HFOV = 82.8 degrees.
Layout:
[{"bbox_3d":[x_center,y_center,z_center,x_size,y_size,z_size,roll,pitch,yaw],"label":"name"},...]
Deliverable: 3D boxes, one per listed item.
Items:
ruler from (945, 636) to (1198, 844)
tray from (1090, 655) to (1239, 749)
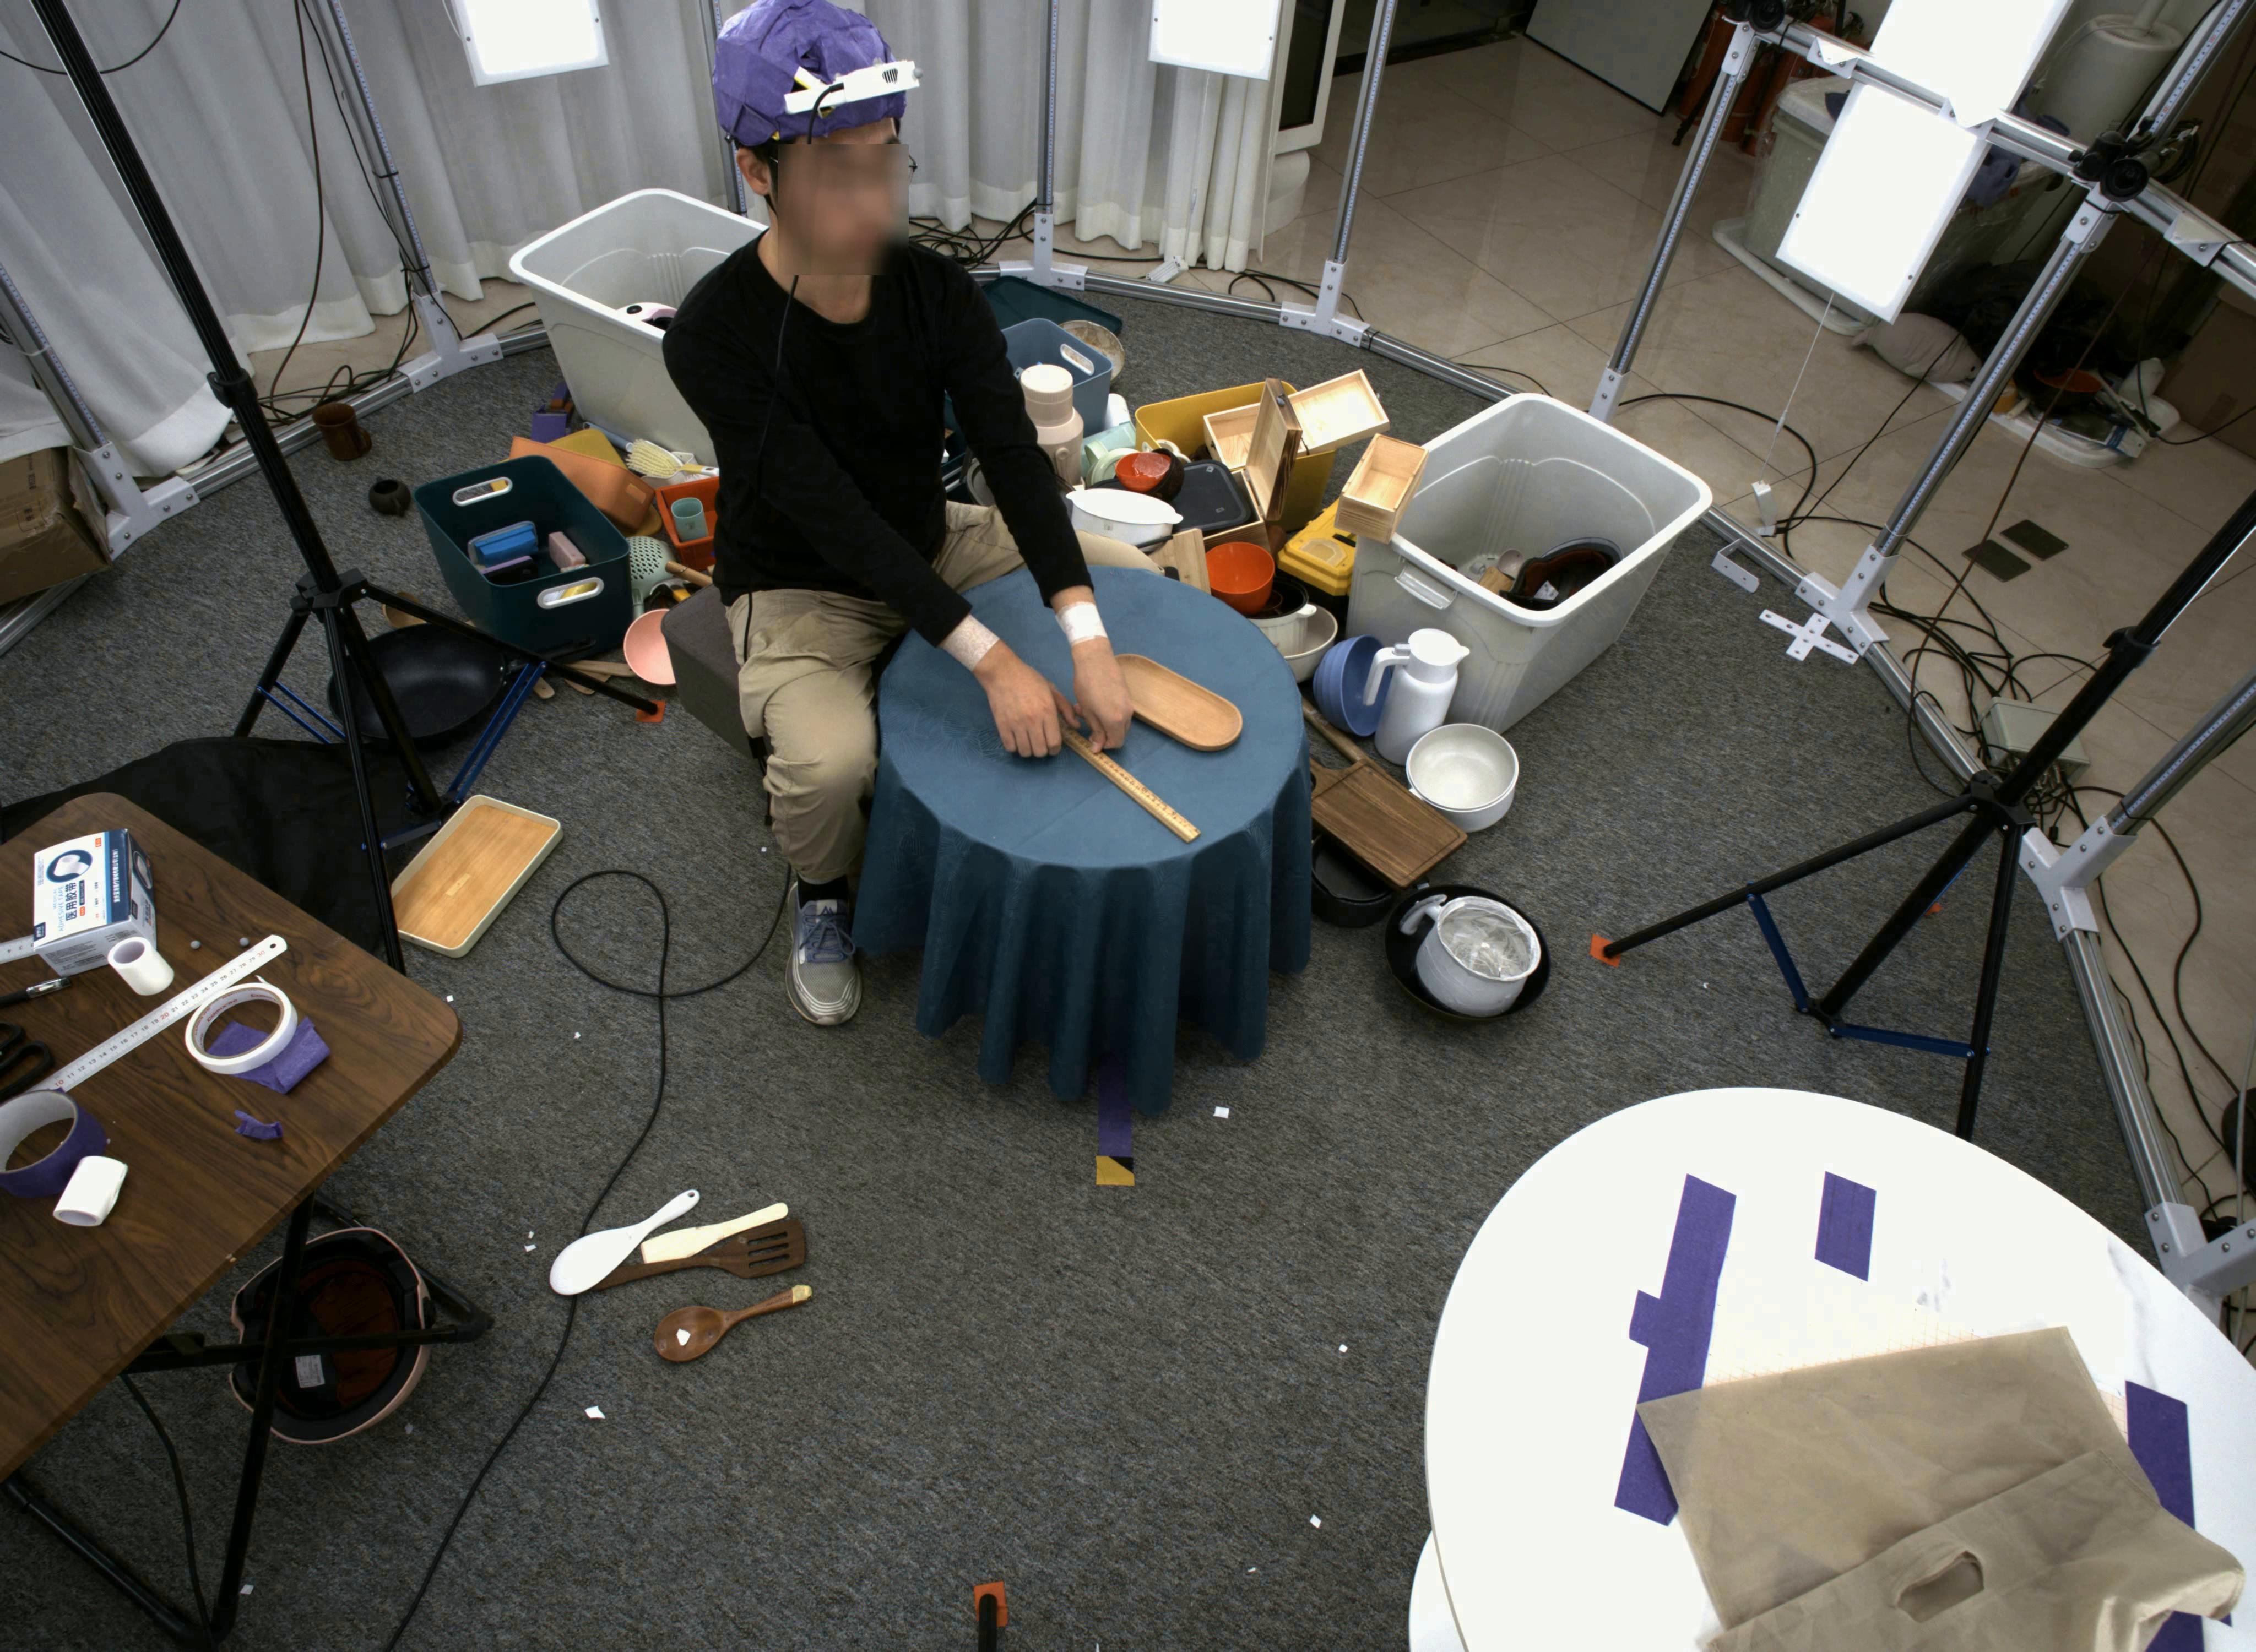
[{"bbox_3d":[-0.087,-0.129,1.774,0.027,0.006,0.508,-30,57,-32],"label":"ruler"},{"bbox_3d":[0.051,-0.176,1.815,0.233,0.020,0.103,27,51,21],"label":"tray"}]
